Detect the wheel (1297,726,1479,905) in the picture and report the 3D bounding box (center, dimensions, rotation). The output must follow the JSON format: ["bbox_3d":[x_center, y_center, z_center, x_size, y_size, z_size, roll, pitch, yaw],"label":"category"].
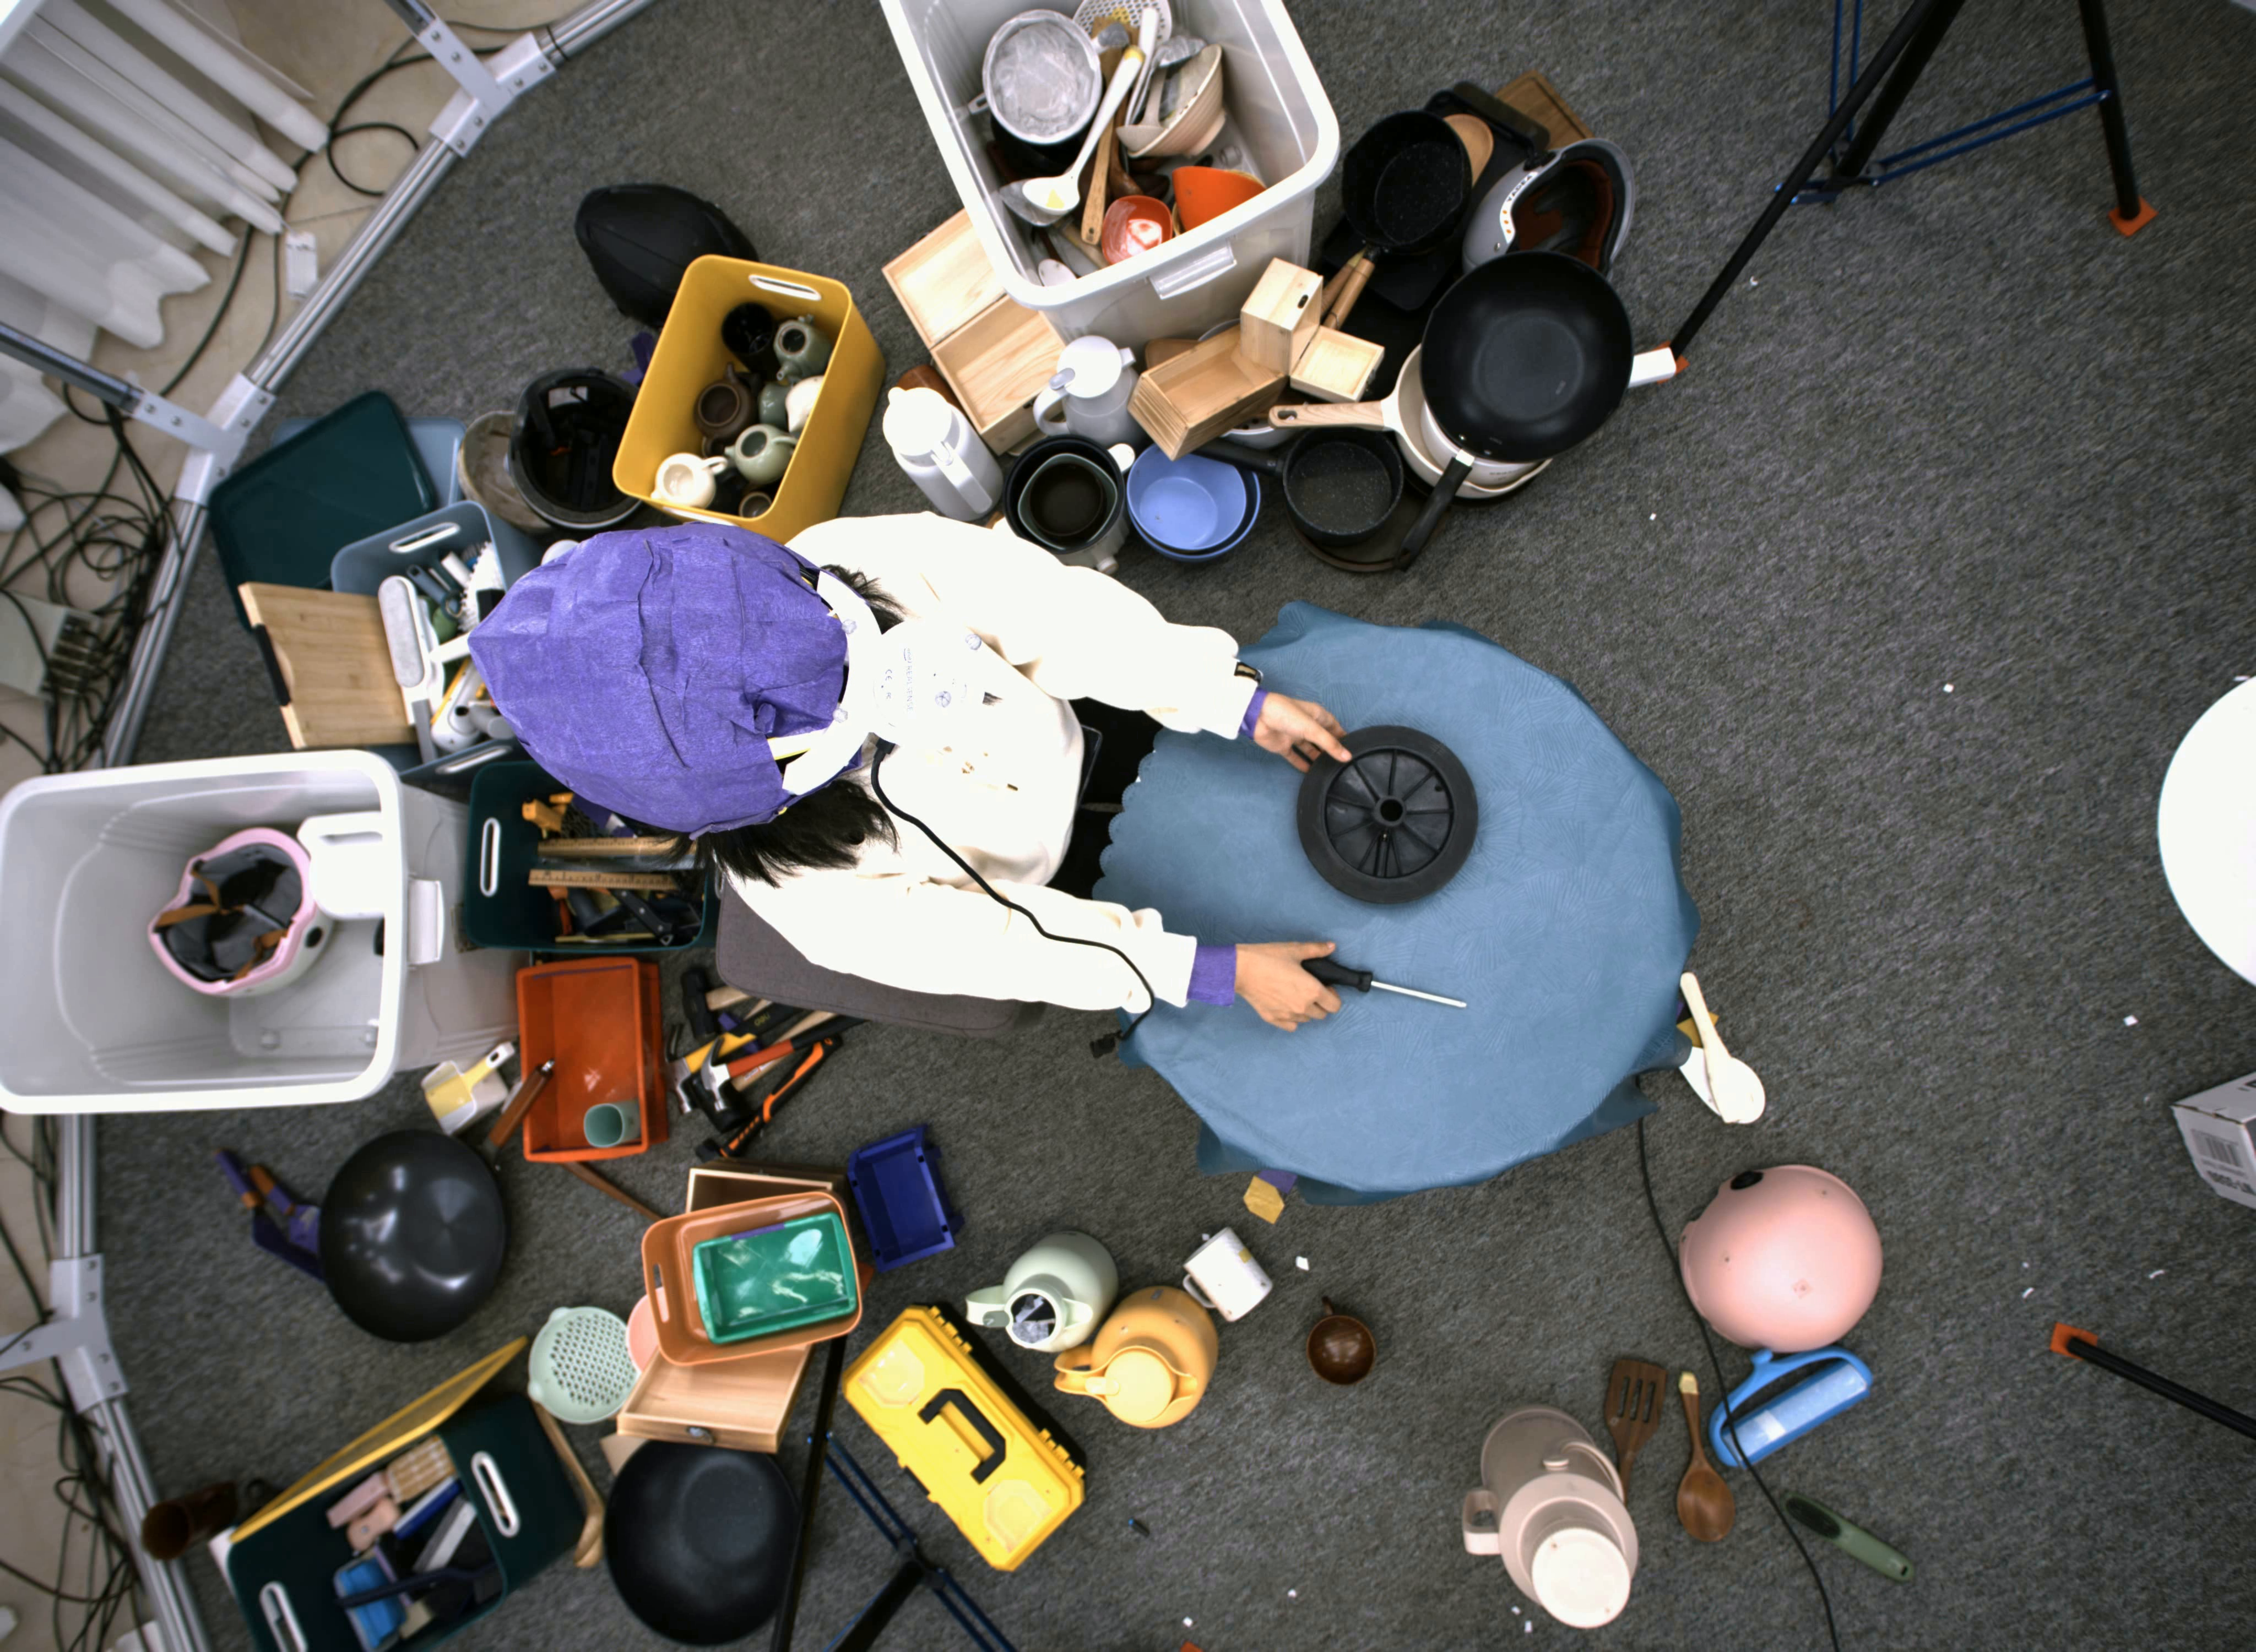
[{"bbox_3d":[0.270,-0.012,1.426,0.188,0.079,0.189,-16,90,7],"label":"wheel"}]

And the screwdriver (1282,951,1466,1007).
[{"bbox_3d":[0.258,0.159,1.445,0.196,0.031,0.031,10,87,9],"label":"screwdriver"}]
